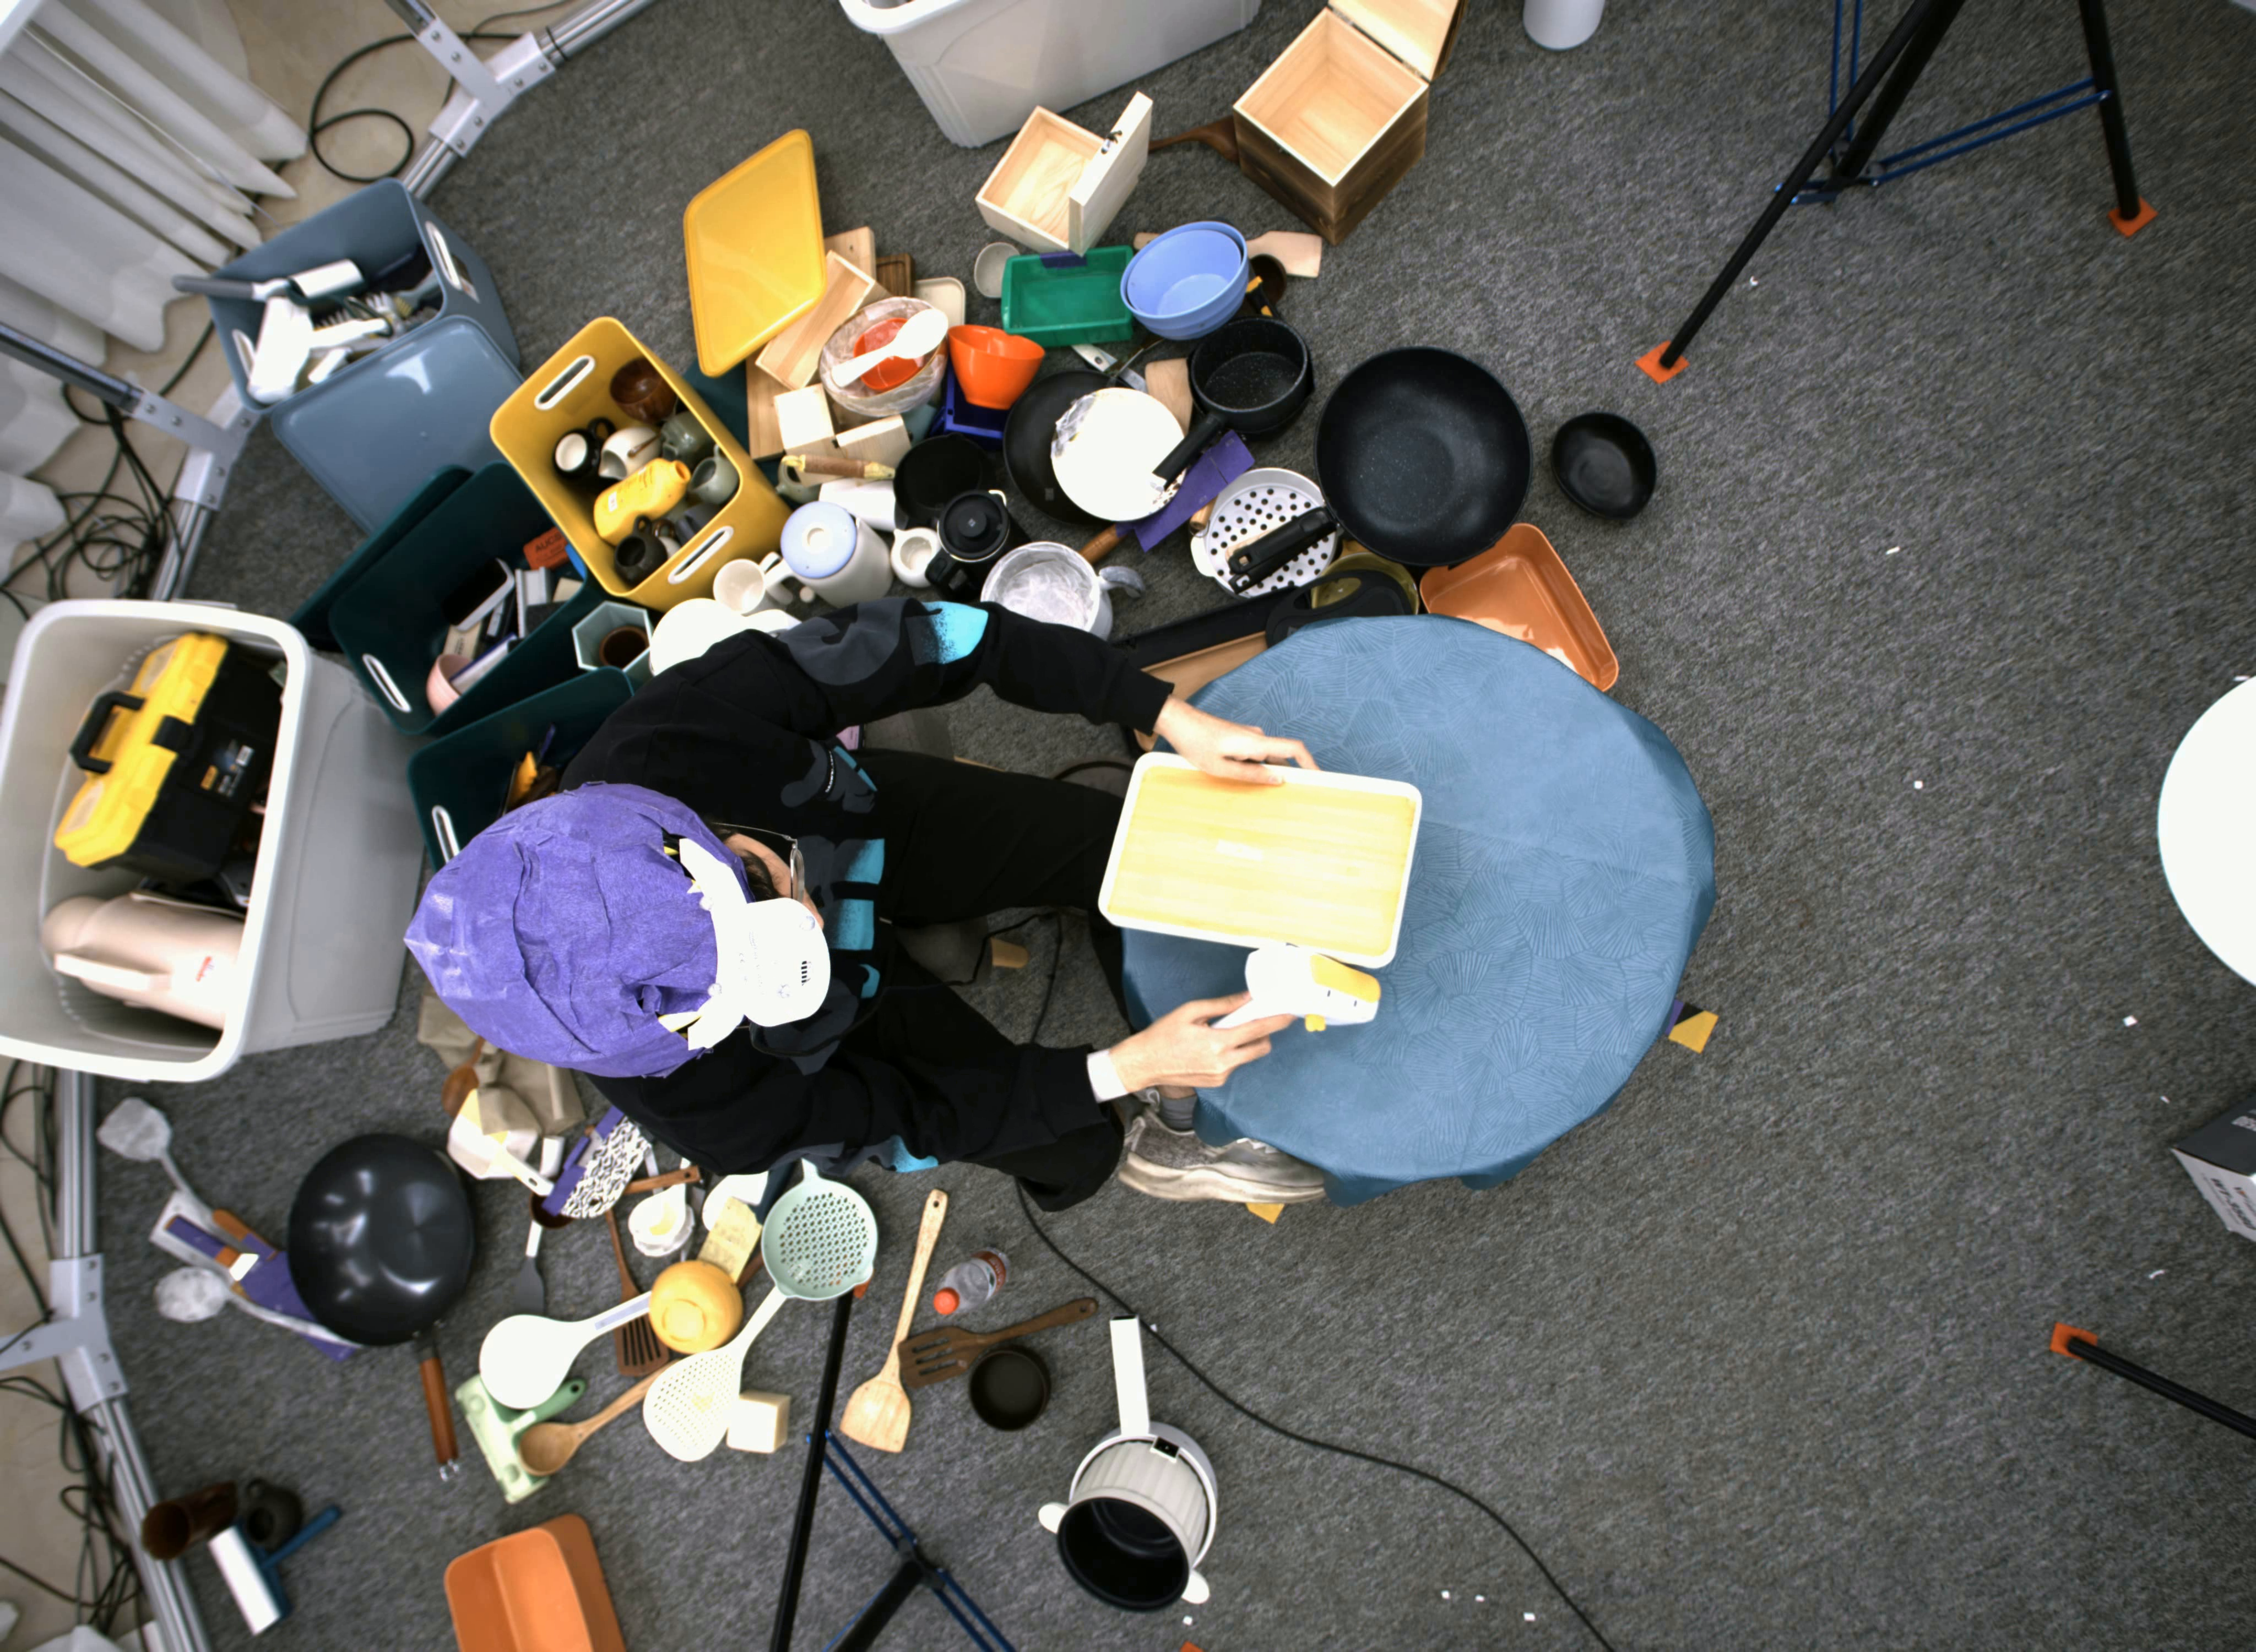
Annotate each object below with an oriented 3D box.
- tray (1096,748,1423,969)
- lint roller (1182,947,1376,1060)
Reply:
[{"bbox_3d":[0.131,0.027,1.382,0.301,0.028,0.188,9,71,18],"label":"tray"},{"bbox_3d":[0.130,0.180,1.371,0.195,0.192,0.073,-23,68,33],"label":"lint roller"}]
